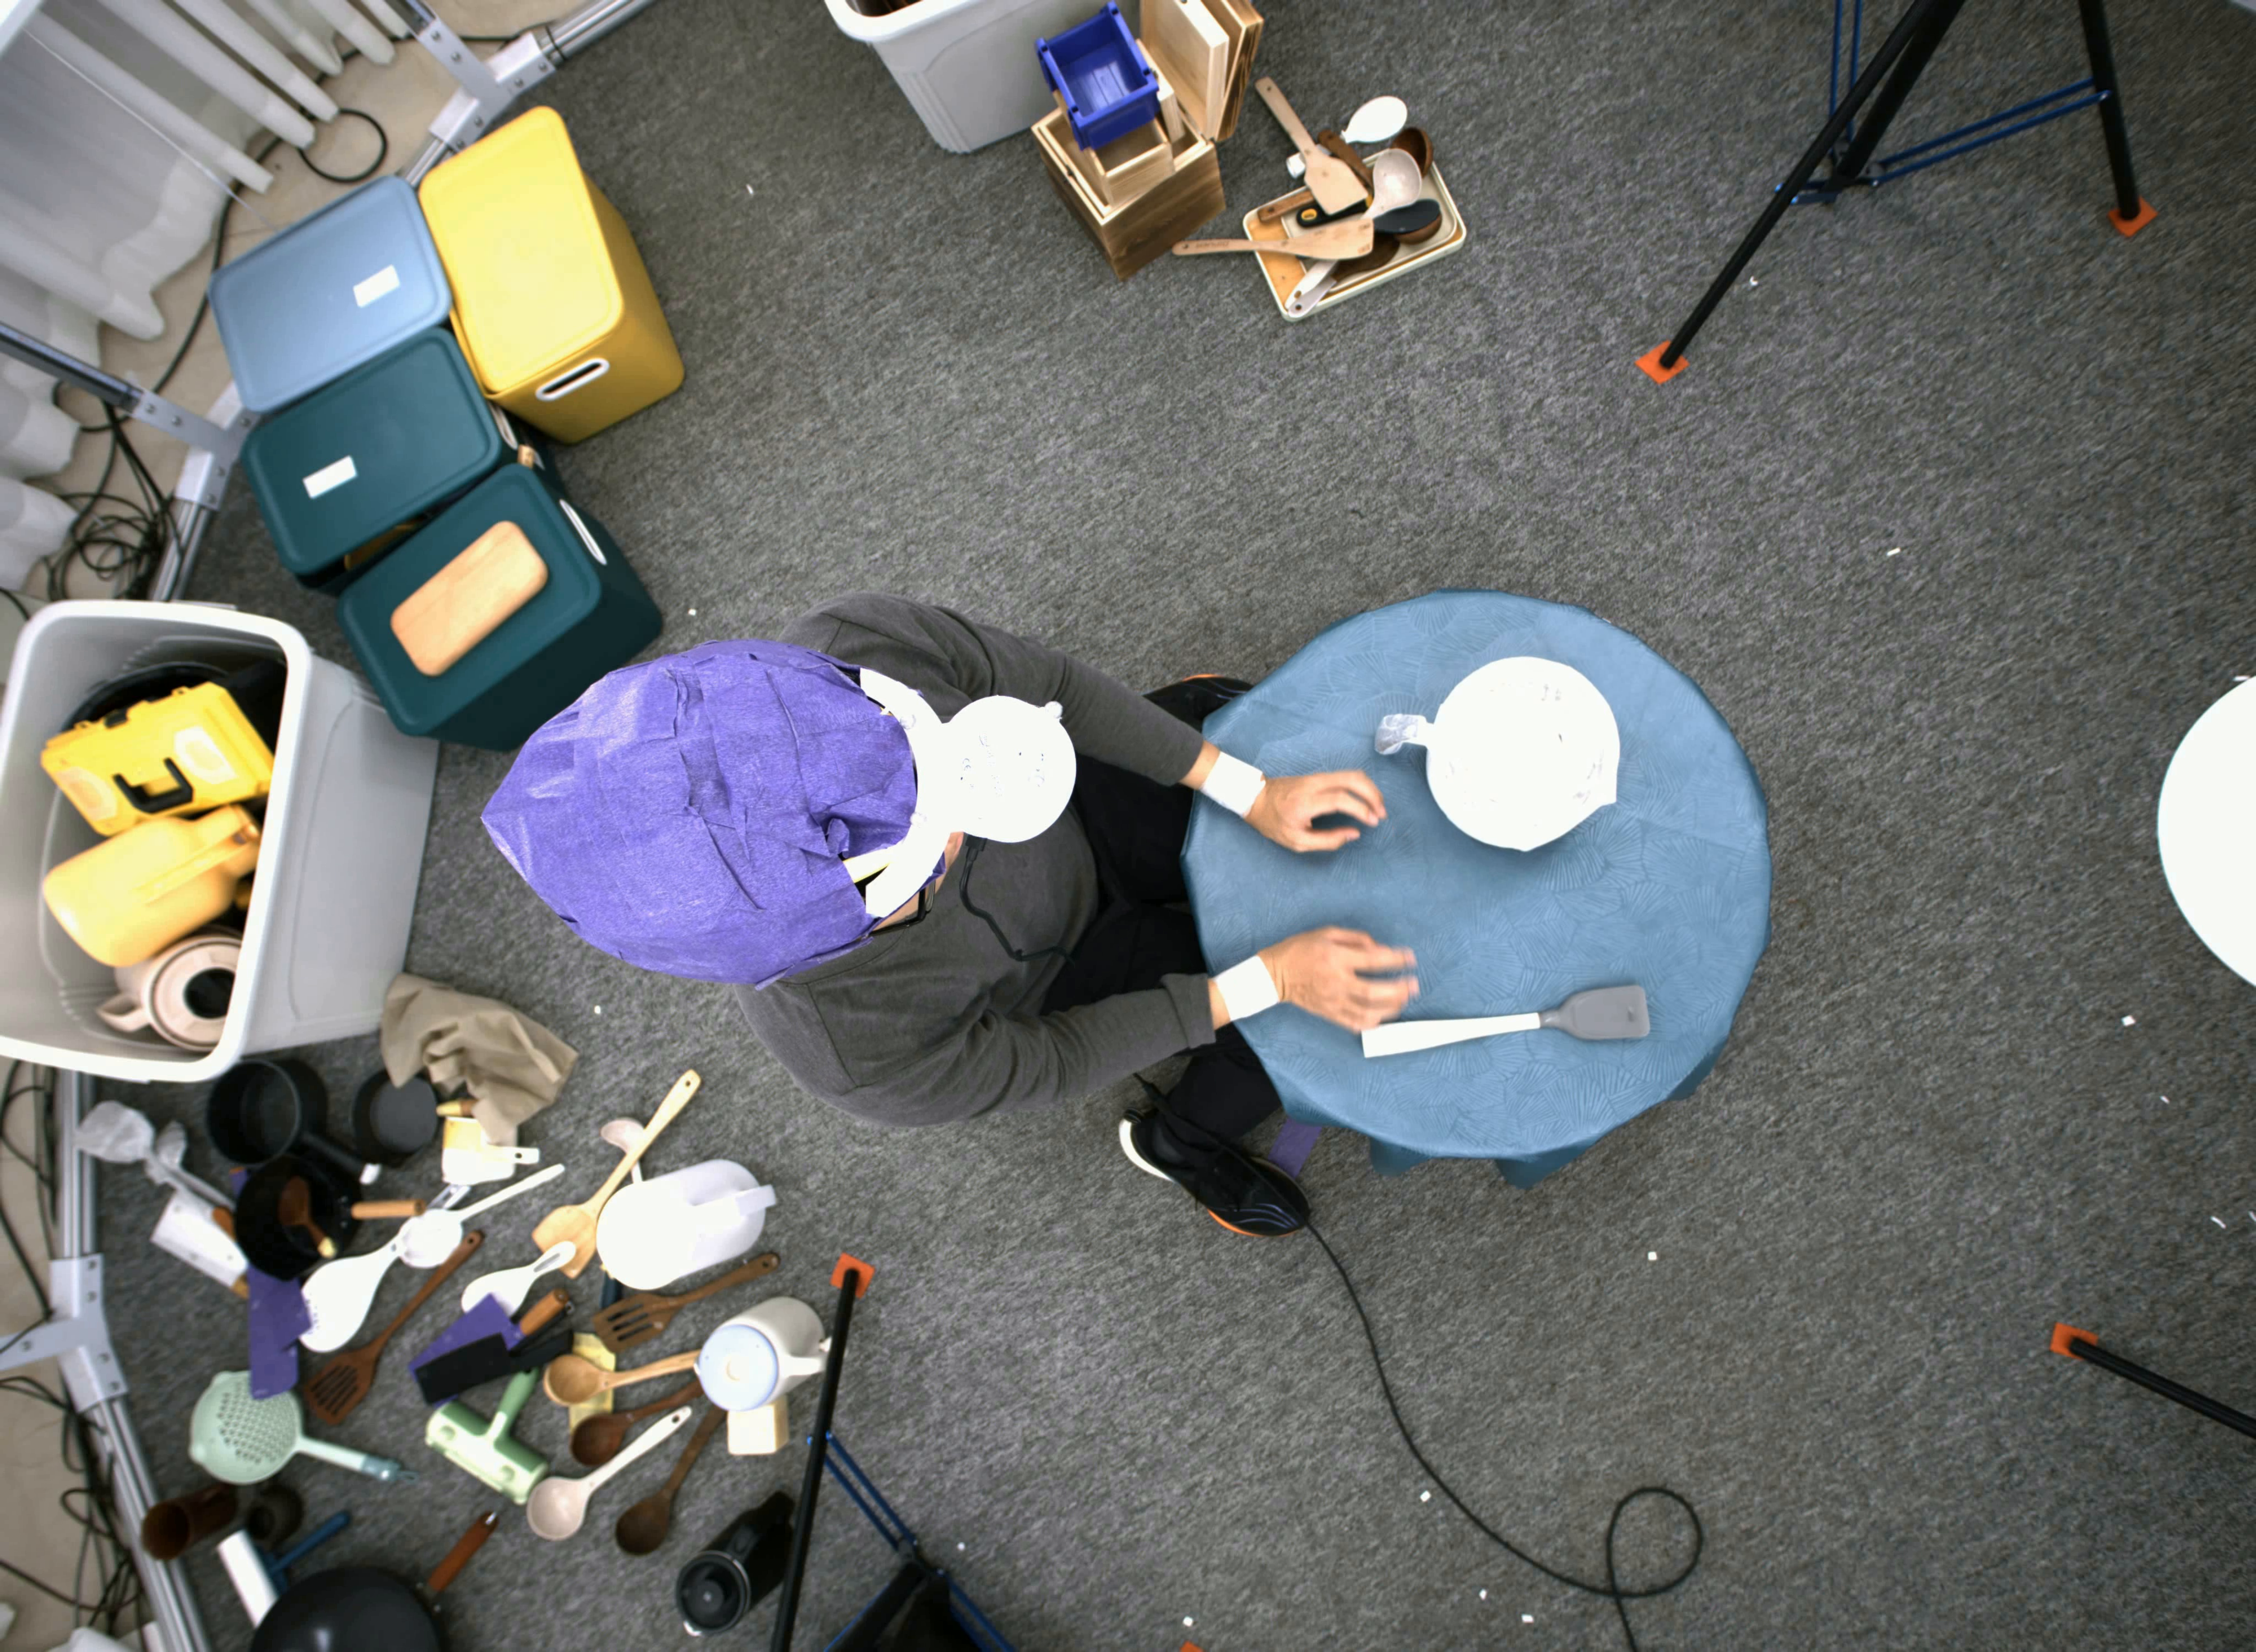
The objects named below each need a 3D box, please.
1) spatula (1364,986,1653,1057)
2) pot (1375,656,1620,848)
[{"bbox_3d":[0.388,0.203,1.413,0.289,0.032,0.058,-8,82,10],"label":"spatula"},{"bbox_3d":[0.365,-0.076,1.380,0.234,0.137,0.178,11,88,11],"label":"pot"}]
